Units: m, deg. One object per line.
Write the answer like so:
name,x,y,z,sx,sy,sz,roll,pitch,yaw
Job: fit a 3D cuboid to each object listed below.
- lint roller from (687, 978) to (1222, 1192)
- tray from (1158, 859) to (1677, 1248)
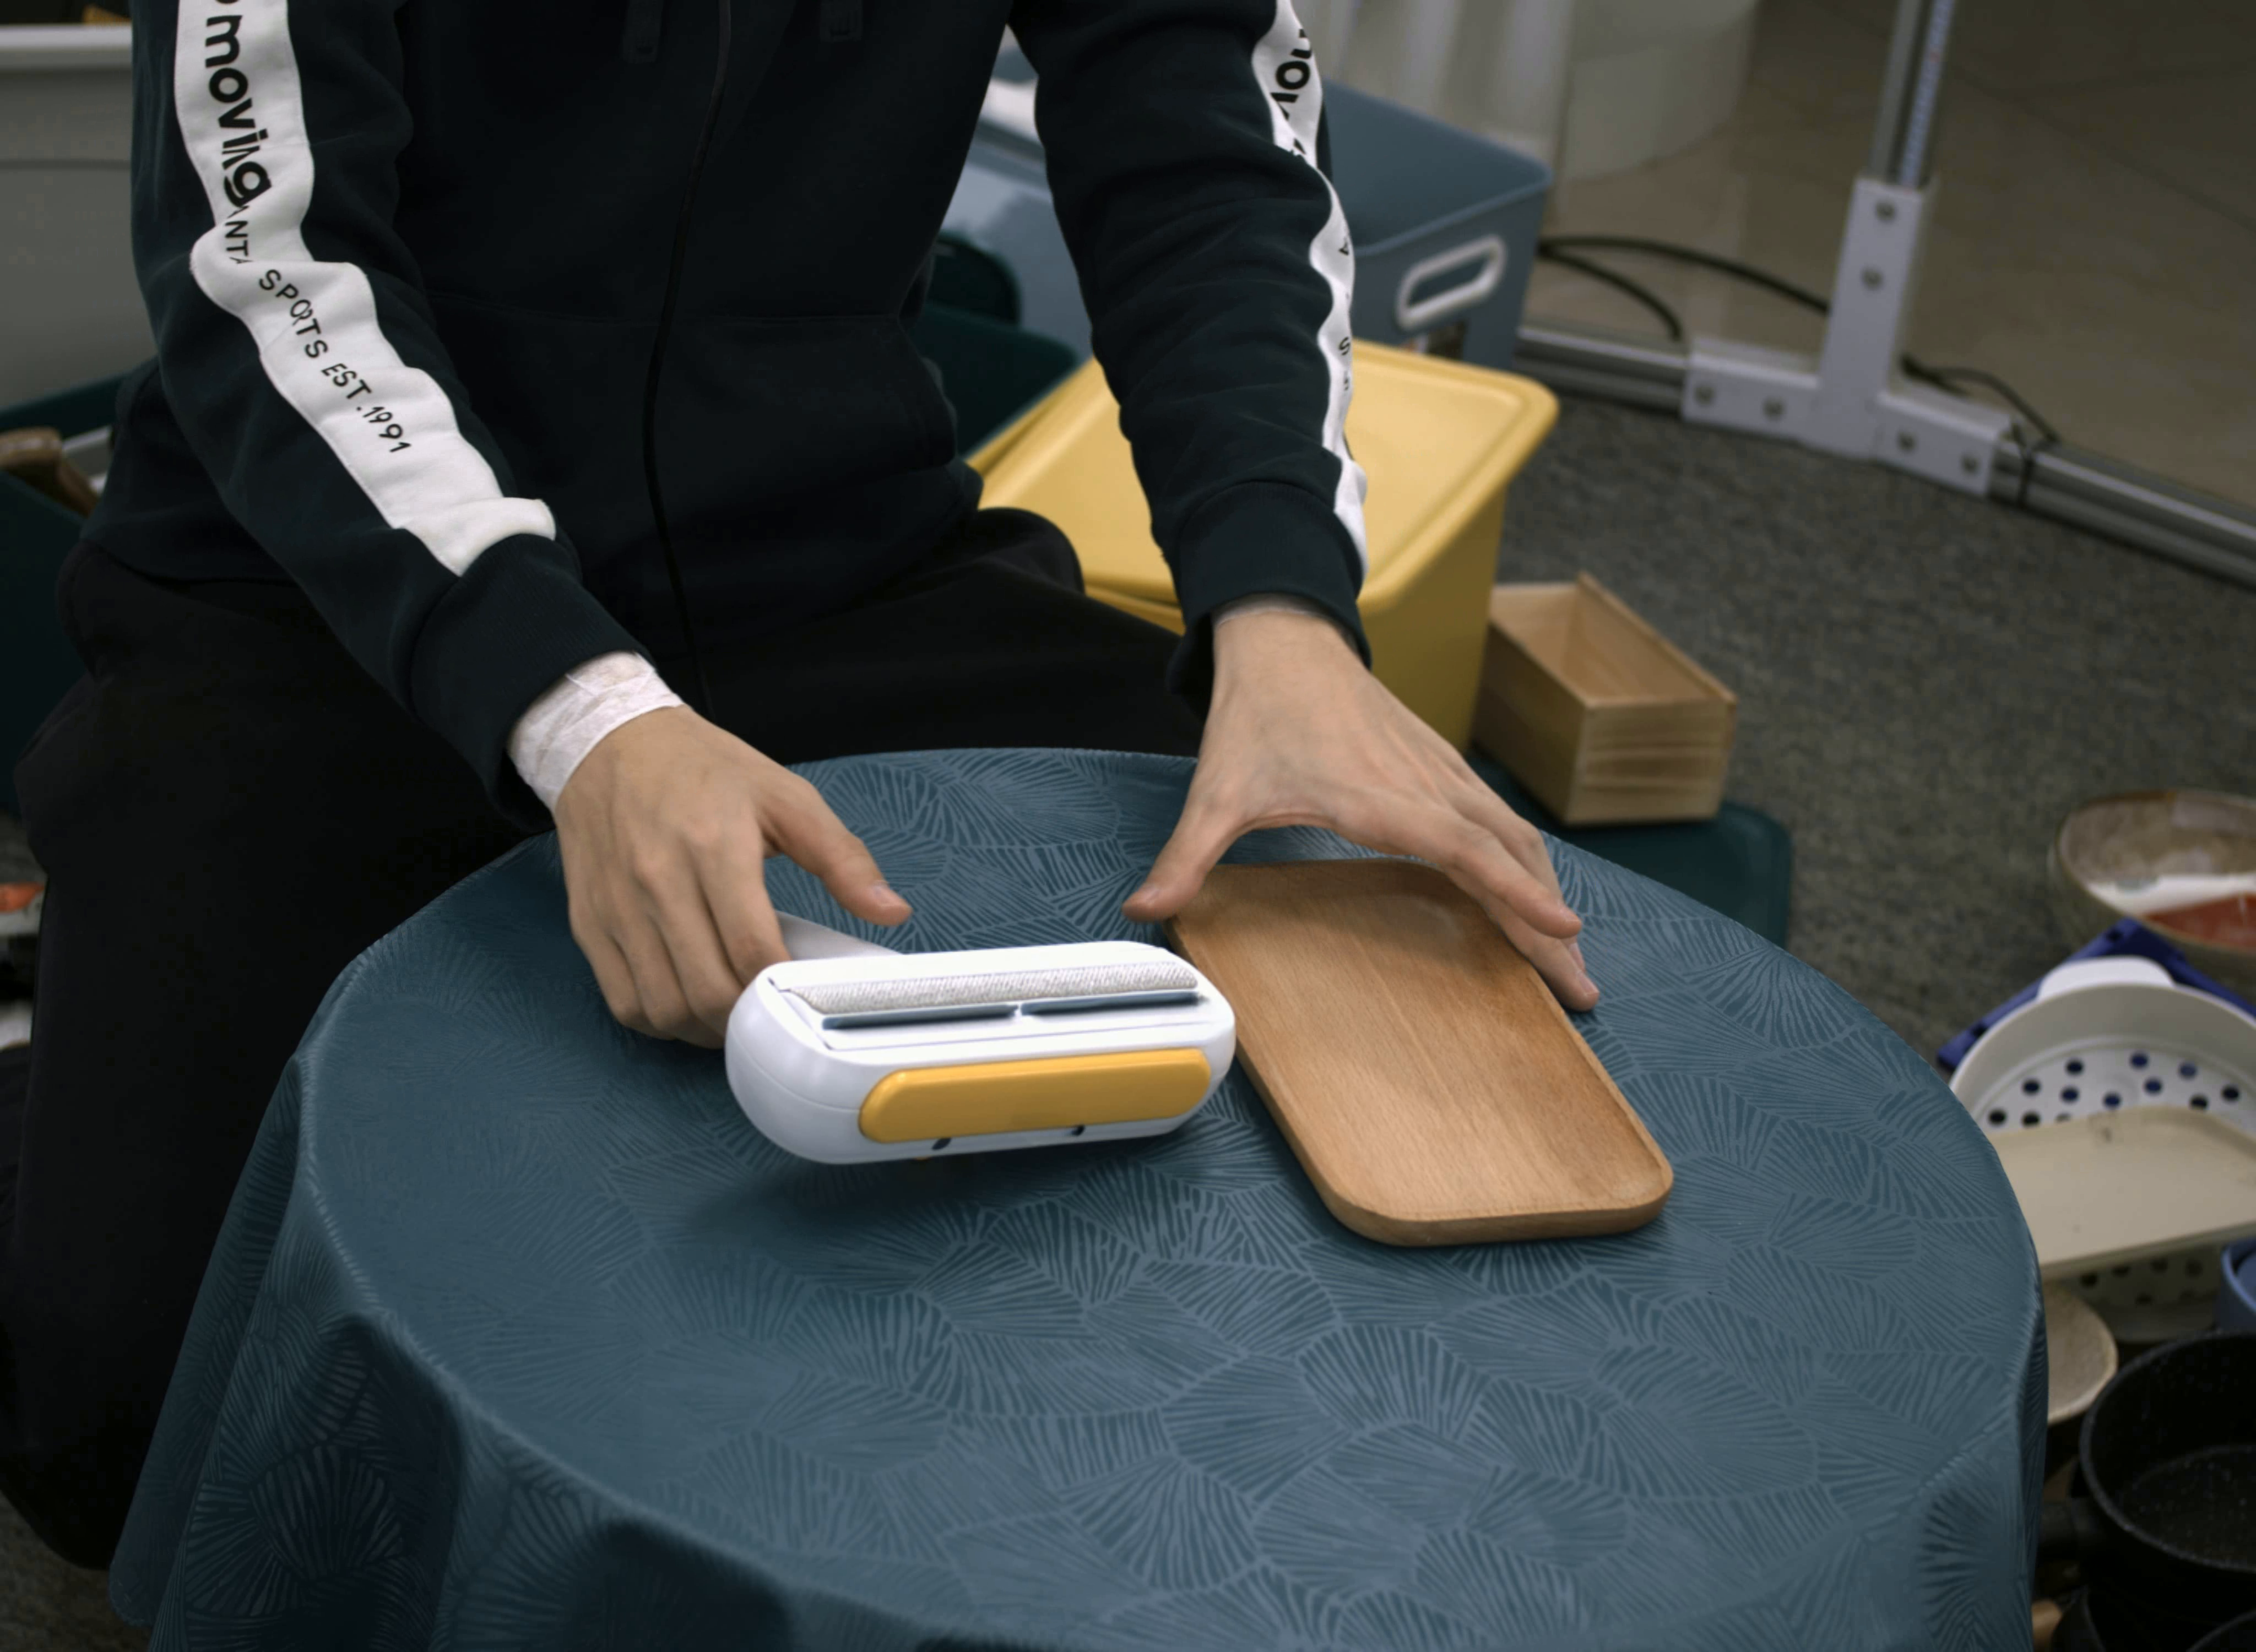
lint roller,-0.088,0.077,1.838,0.191,0.074,0.194,-3,12,-32
tray,0.099,0.078,1.893,0.130,0.023,0.253,0,27,-17
